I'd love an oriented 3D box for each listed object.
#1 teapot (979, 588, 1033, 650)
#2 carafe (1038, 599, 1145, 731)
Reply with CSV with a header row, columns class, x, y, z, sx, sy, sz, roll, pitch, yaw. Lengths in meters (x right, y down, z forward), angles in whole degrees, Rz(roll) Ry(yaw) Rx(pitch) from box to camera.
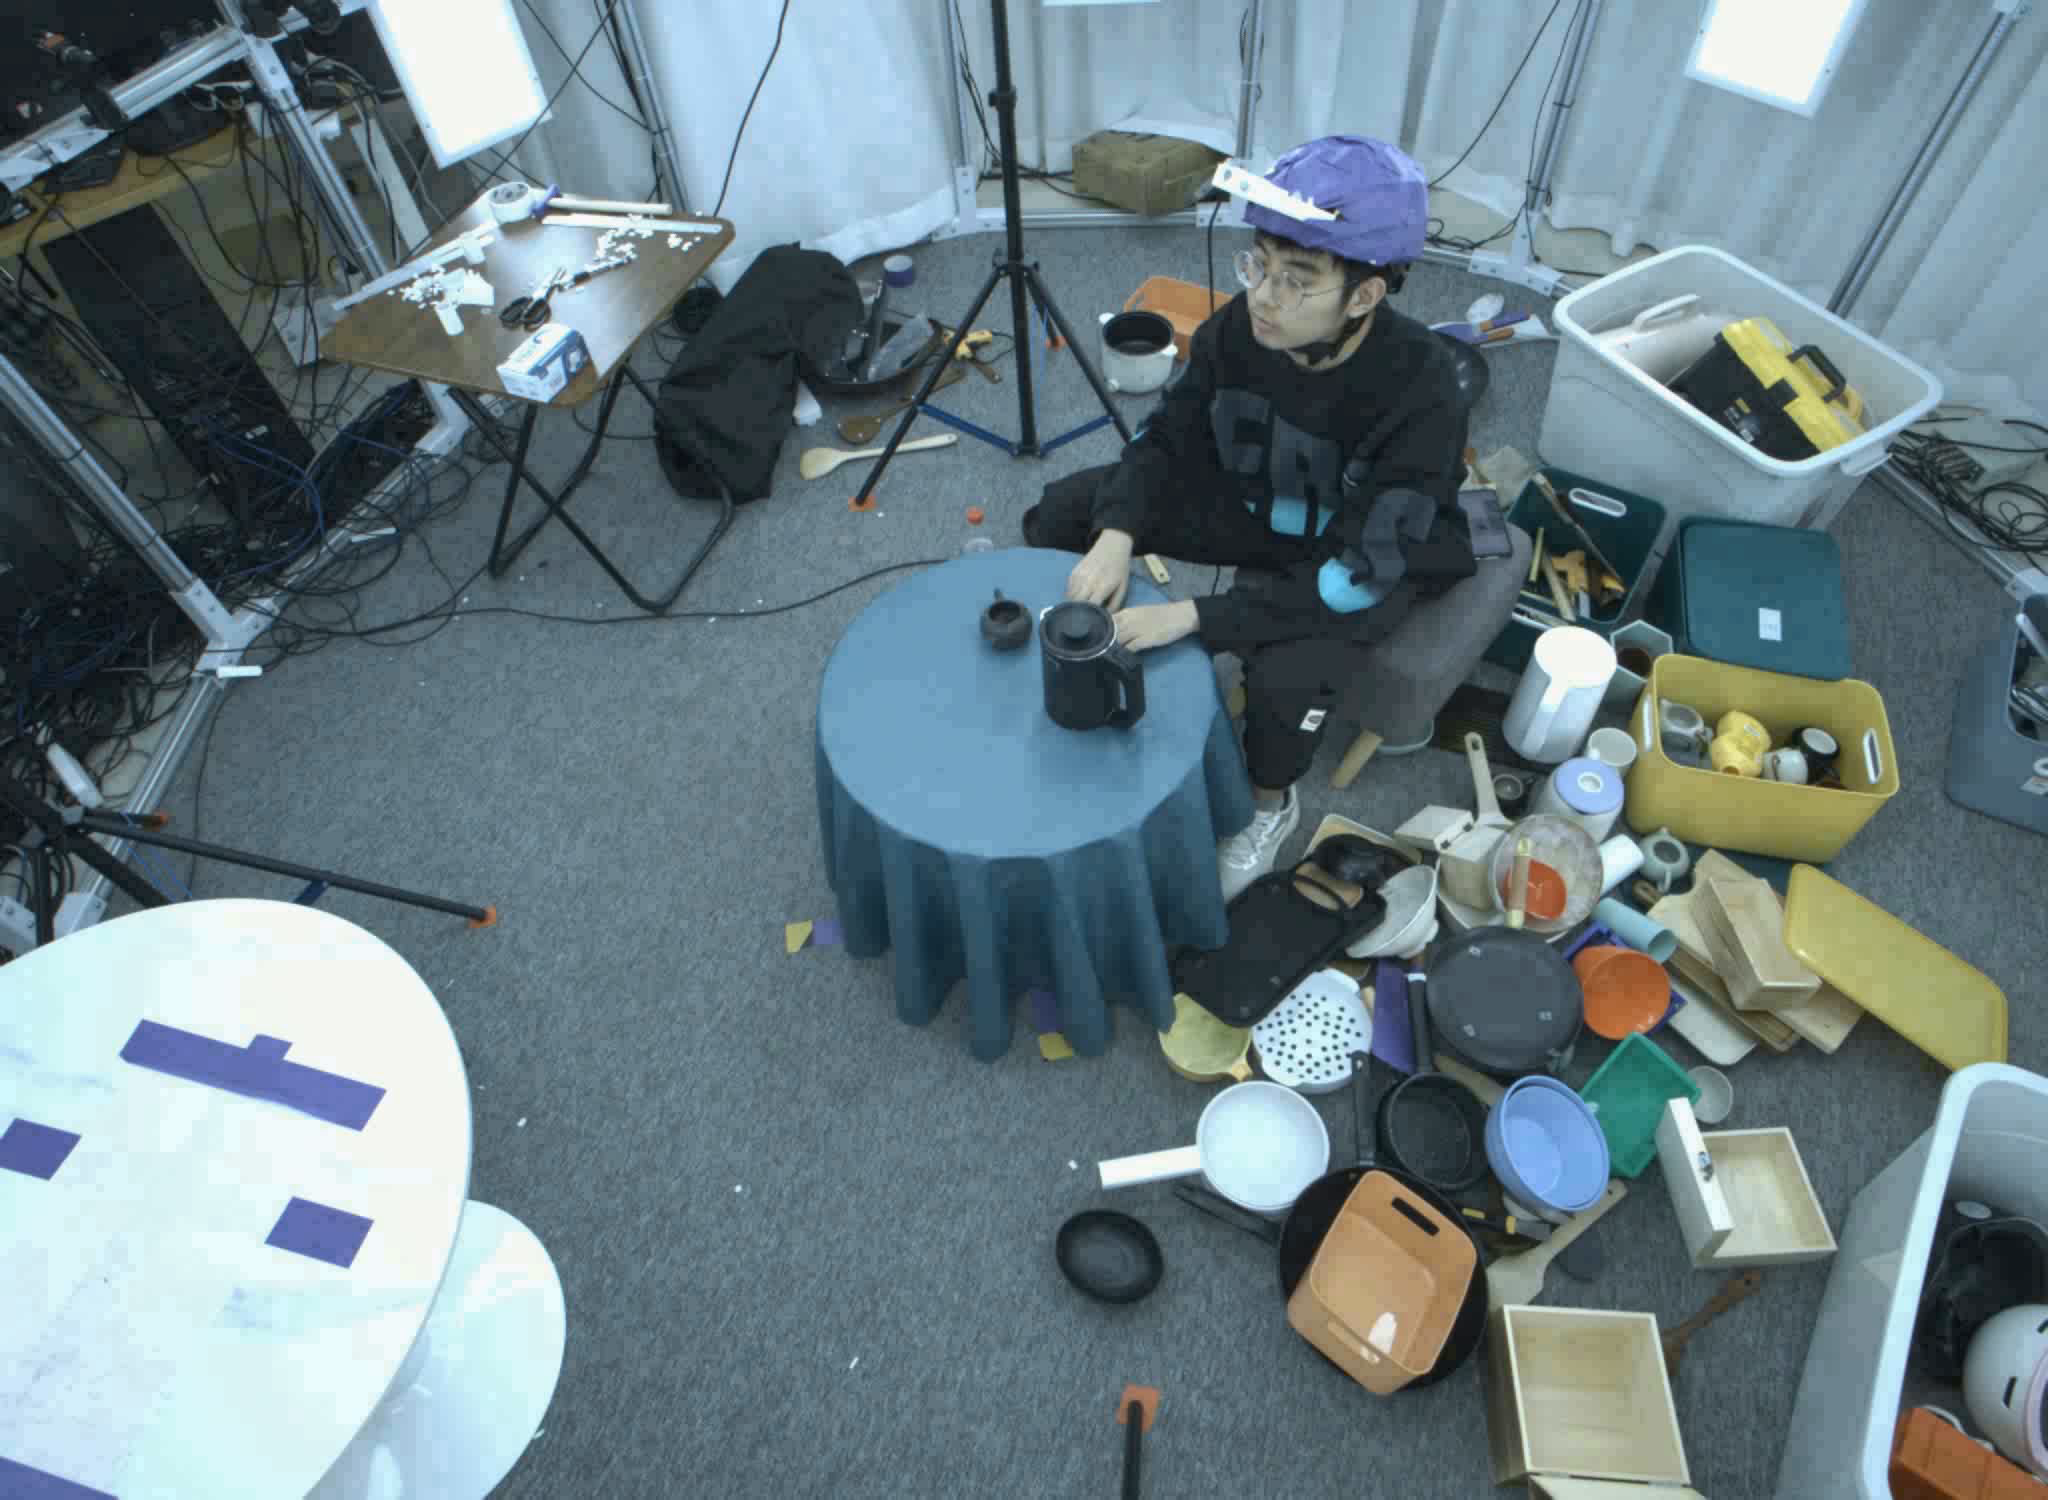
class,x,y,z,sx,sy,sz,roll,pitch,yaw
teapot,-0.030,-0.204,1.898,0.083,0.053,0.112,-8,57,-4
carafe,0.096,-0.113,1.755,0.168,0.175,0.115,30,60,25
